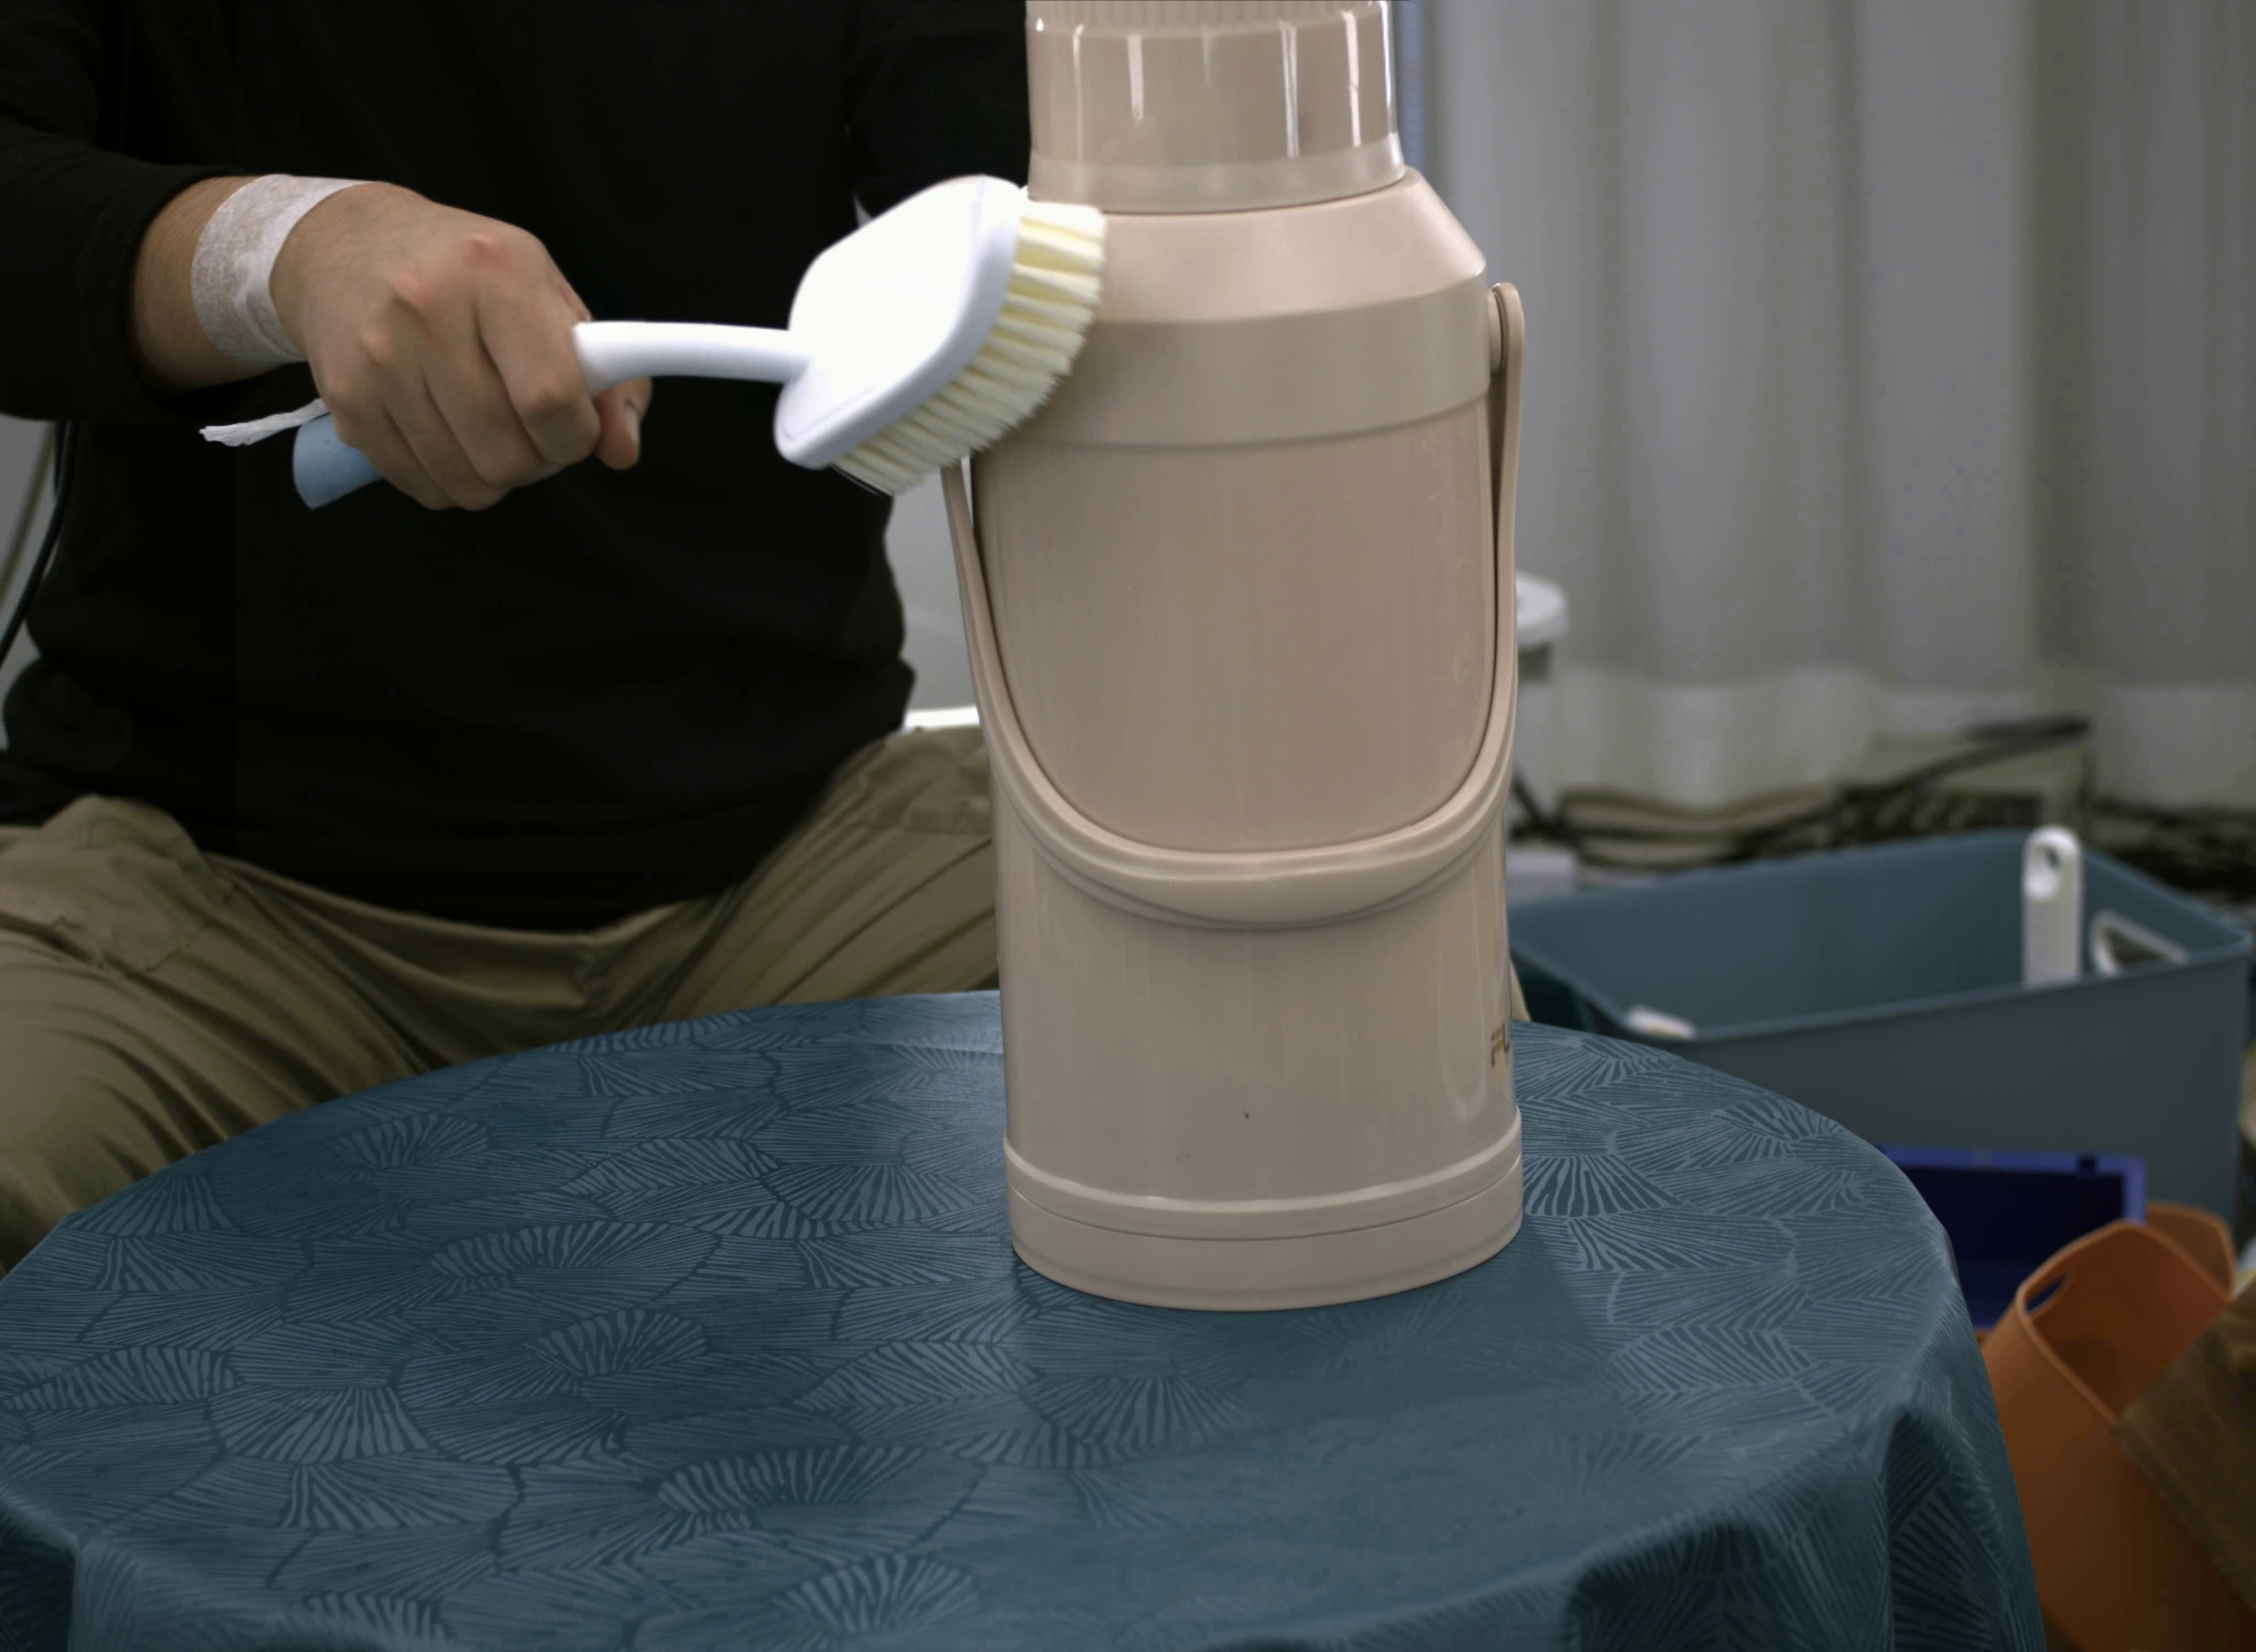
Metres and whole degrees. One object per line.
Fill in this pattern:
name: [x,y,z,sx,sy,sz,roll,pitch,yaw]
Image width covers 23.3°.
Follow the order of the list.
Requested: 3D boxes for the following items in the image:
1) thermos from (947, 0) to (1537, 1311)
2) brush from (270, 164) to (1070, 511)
thermos: [0.035,-0.073,1.647,0.174,0.405,0.208,-6,14,-7]
brush: [-0.128,-0.130,1.627,0.325,0.084,0.083,-15,19,43]
